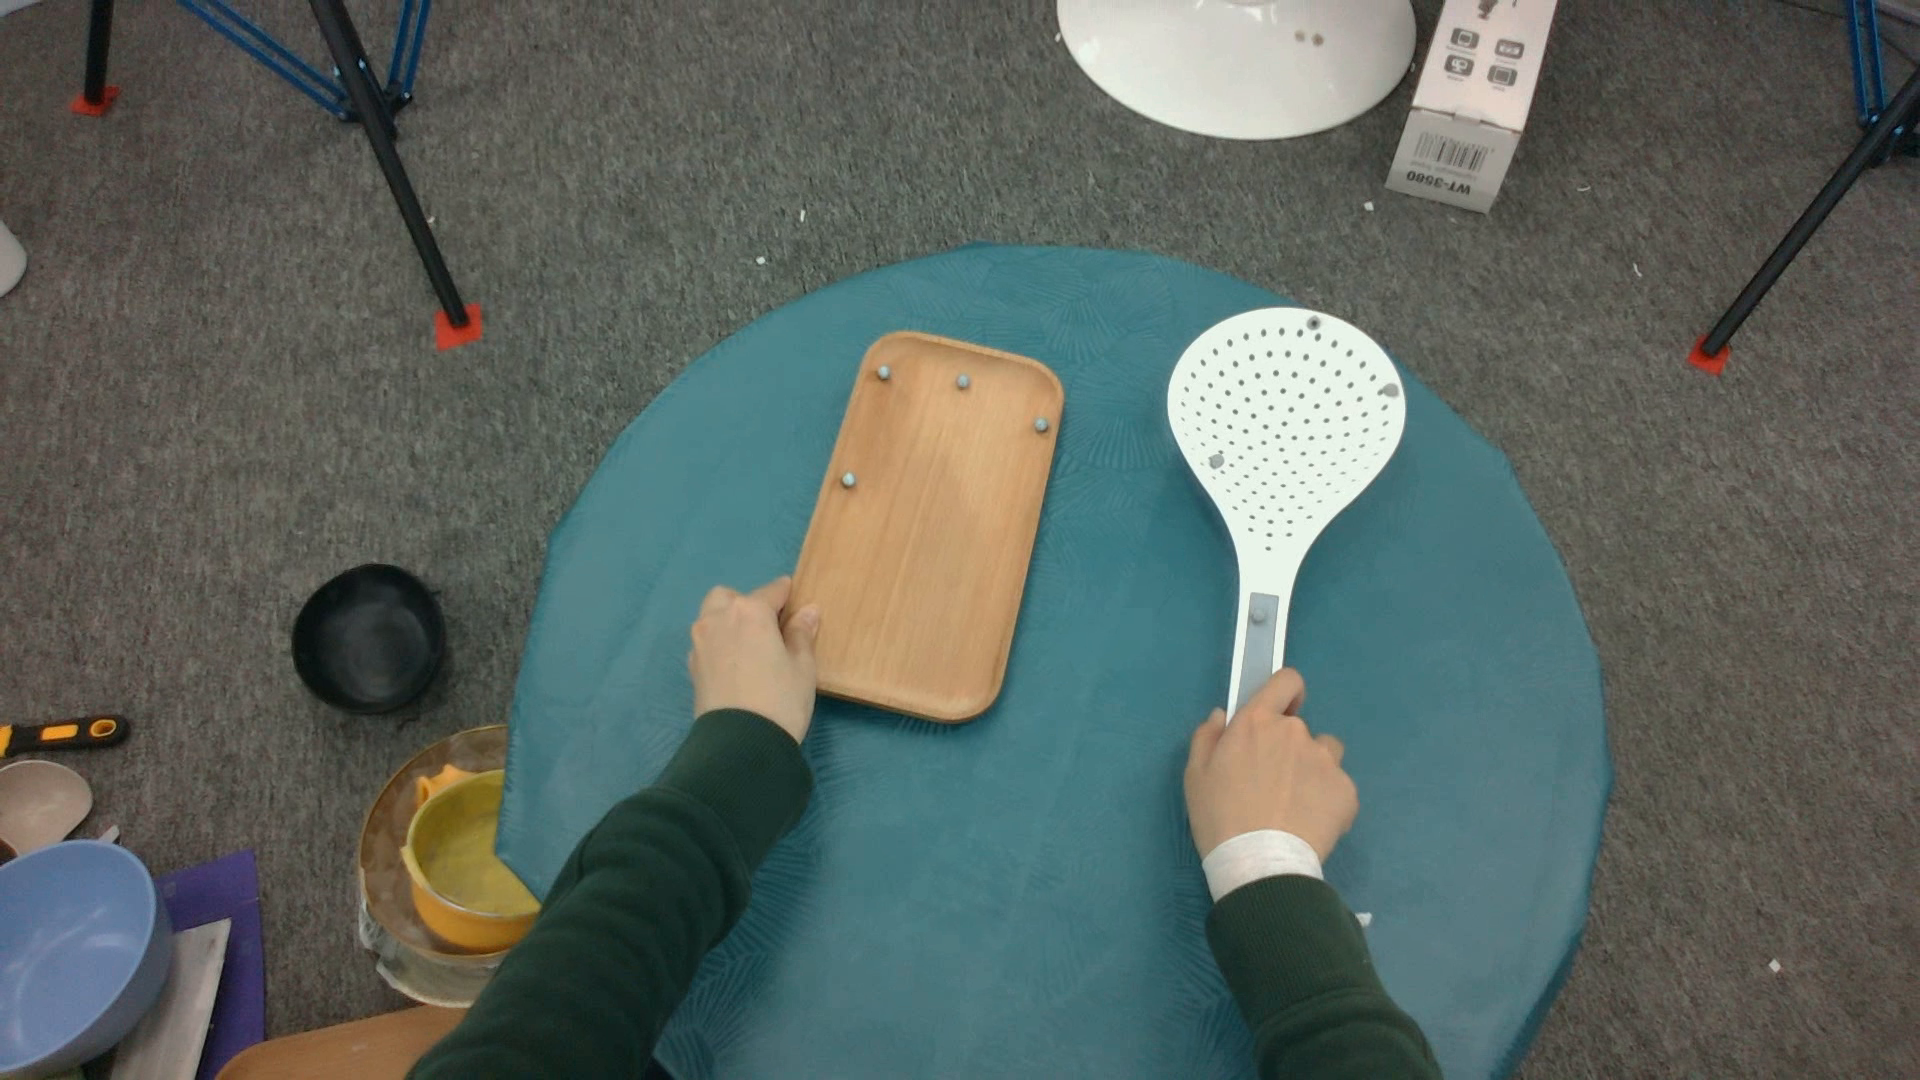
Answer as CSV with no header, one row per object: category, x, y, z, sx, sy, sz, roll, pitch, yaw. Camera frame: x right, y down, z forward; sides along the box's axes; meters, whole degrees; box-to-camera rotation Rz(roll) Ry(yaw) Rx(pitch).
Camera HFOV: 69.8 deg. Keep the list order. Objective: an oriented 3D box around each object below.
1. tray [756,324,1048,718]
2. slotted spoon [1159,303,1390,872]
tray,-0.028,-0.018,0.800,0.130,0.023,0.252,13,60,2
slotted spoon,0.165,0.014,0.776,0.136,0.045,0.351,9,59,8
